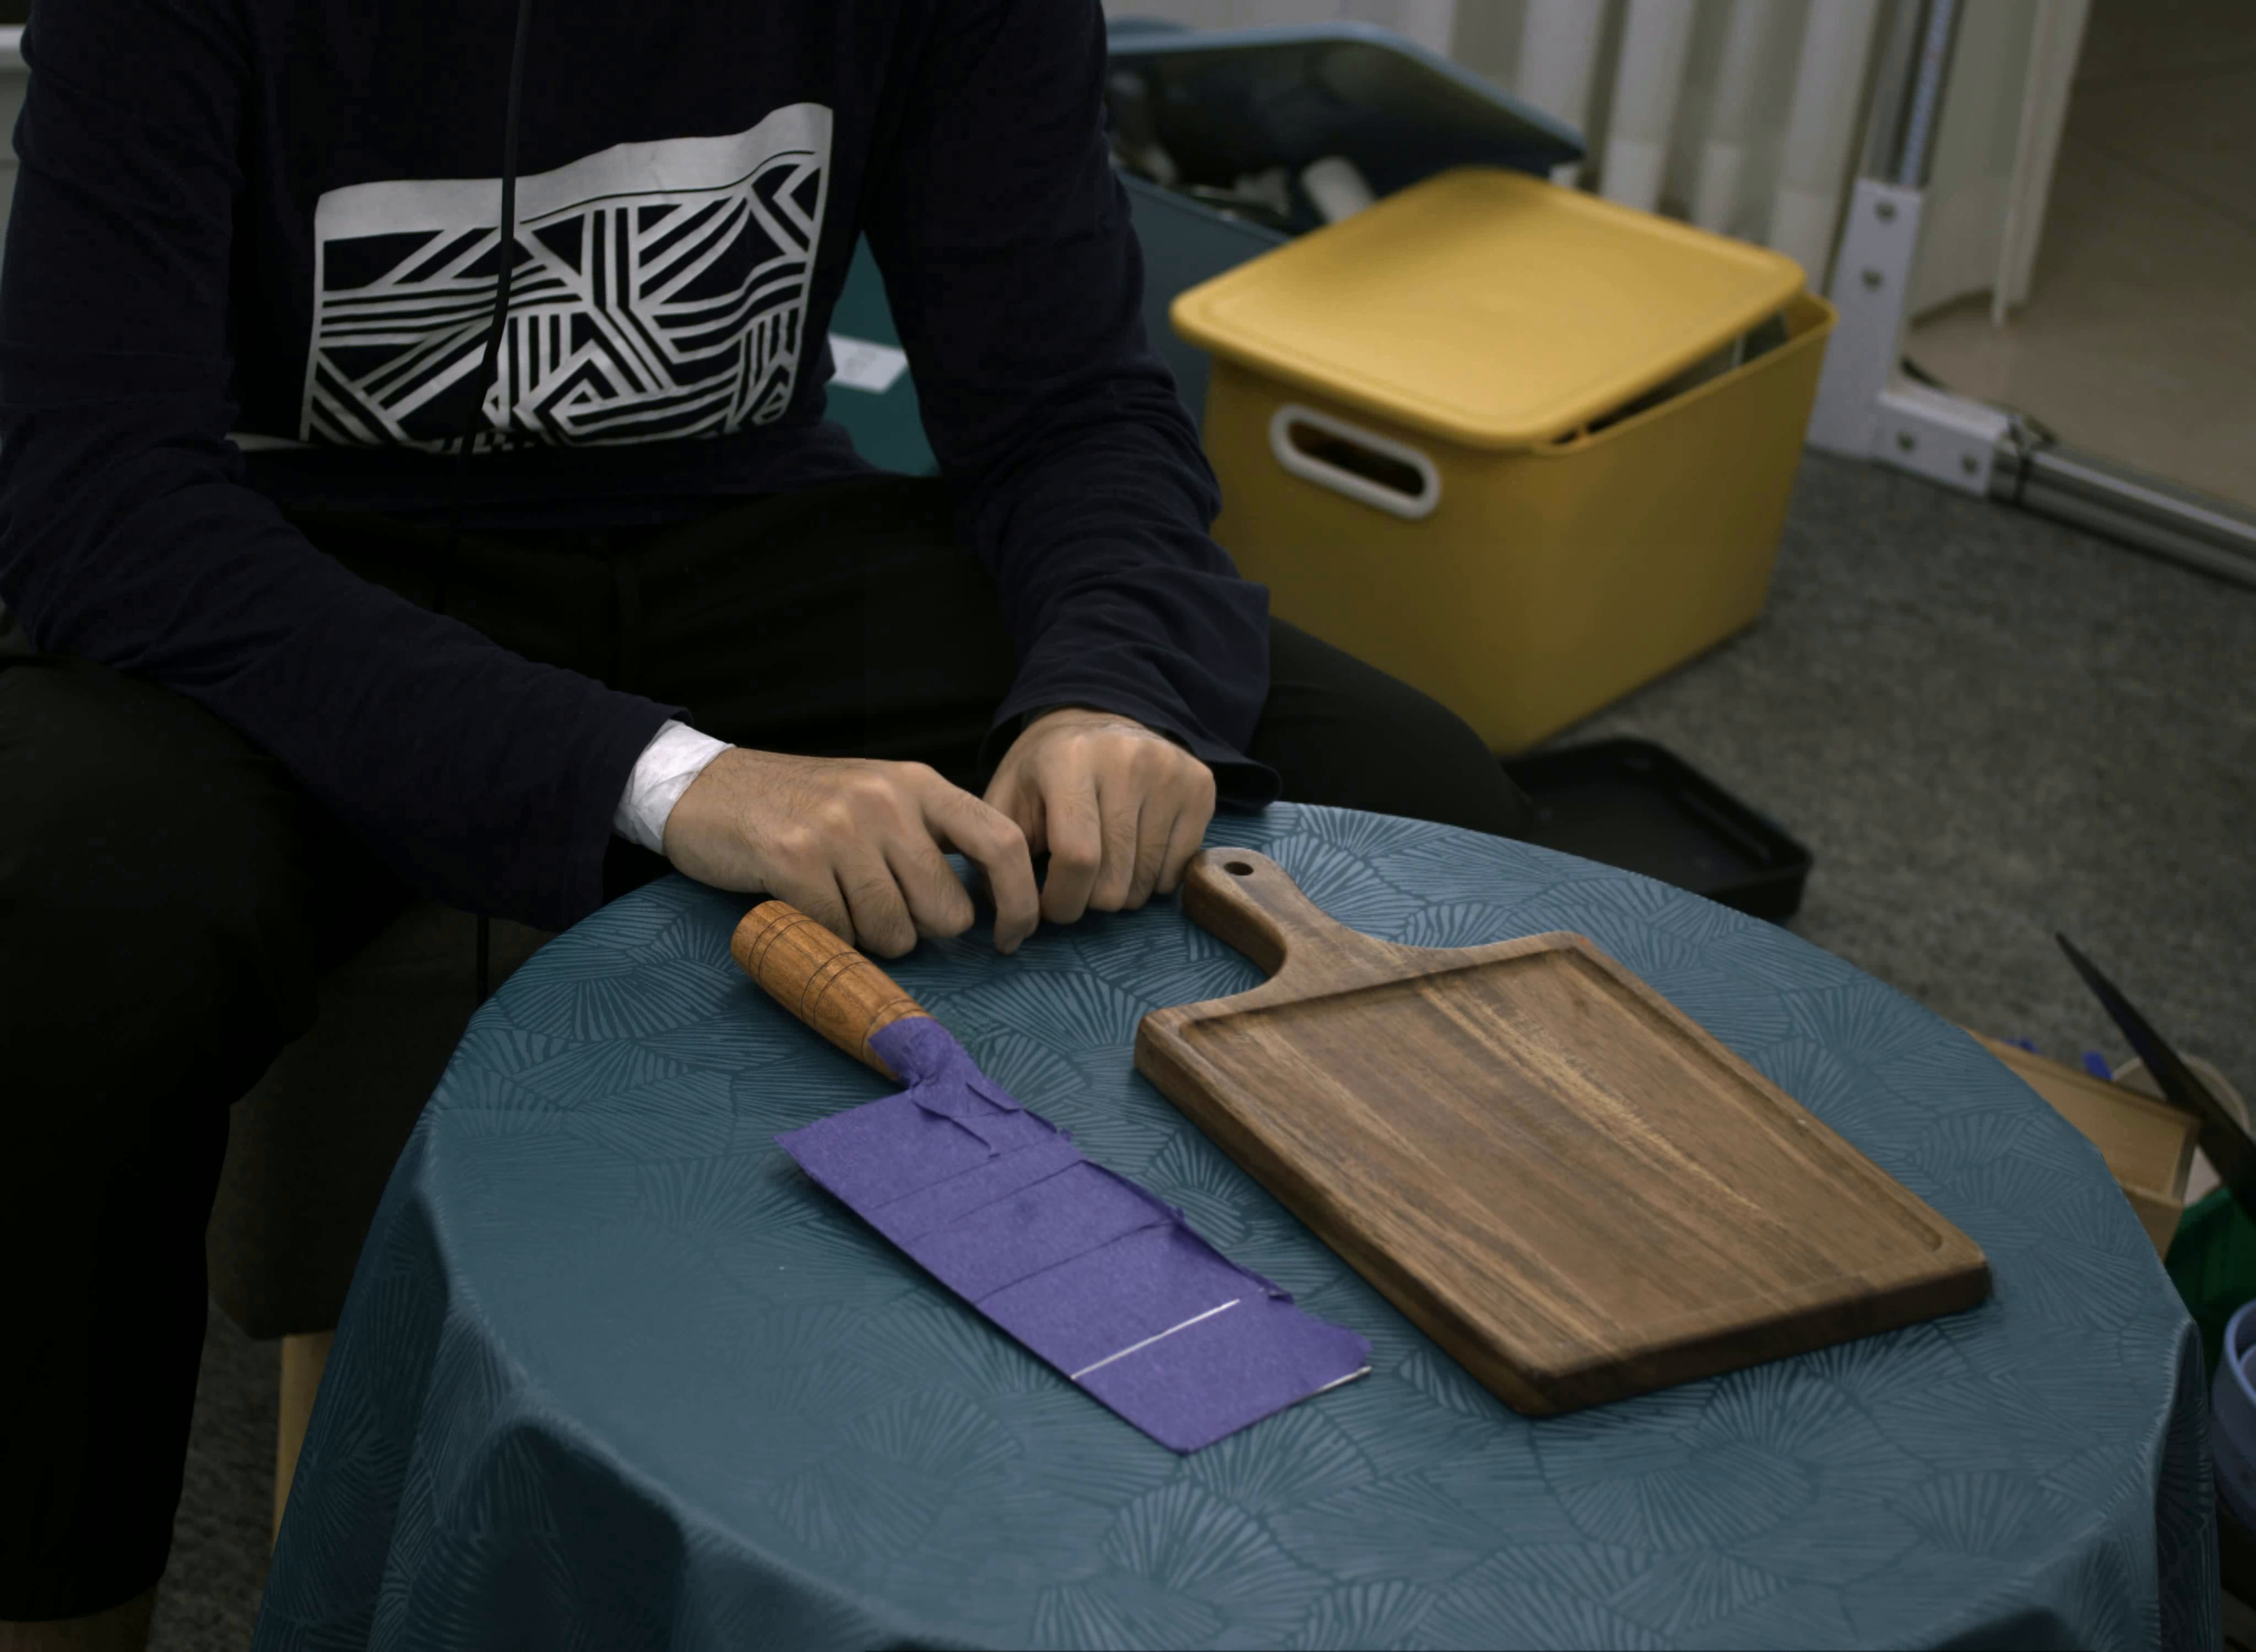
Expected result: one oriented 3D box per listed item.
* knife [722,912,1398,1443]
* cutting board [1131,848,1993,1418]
[{"bbox_3d":[-0.052,0.114,1.784,0.103,0.032,0.318,-17,36,-39],"label":"knife"},{"bbox_3d":[0.121,0.092,1.872,0.200,0.023,0.355,-10,31,-30],"label":"cutting board"}]
